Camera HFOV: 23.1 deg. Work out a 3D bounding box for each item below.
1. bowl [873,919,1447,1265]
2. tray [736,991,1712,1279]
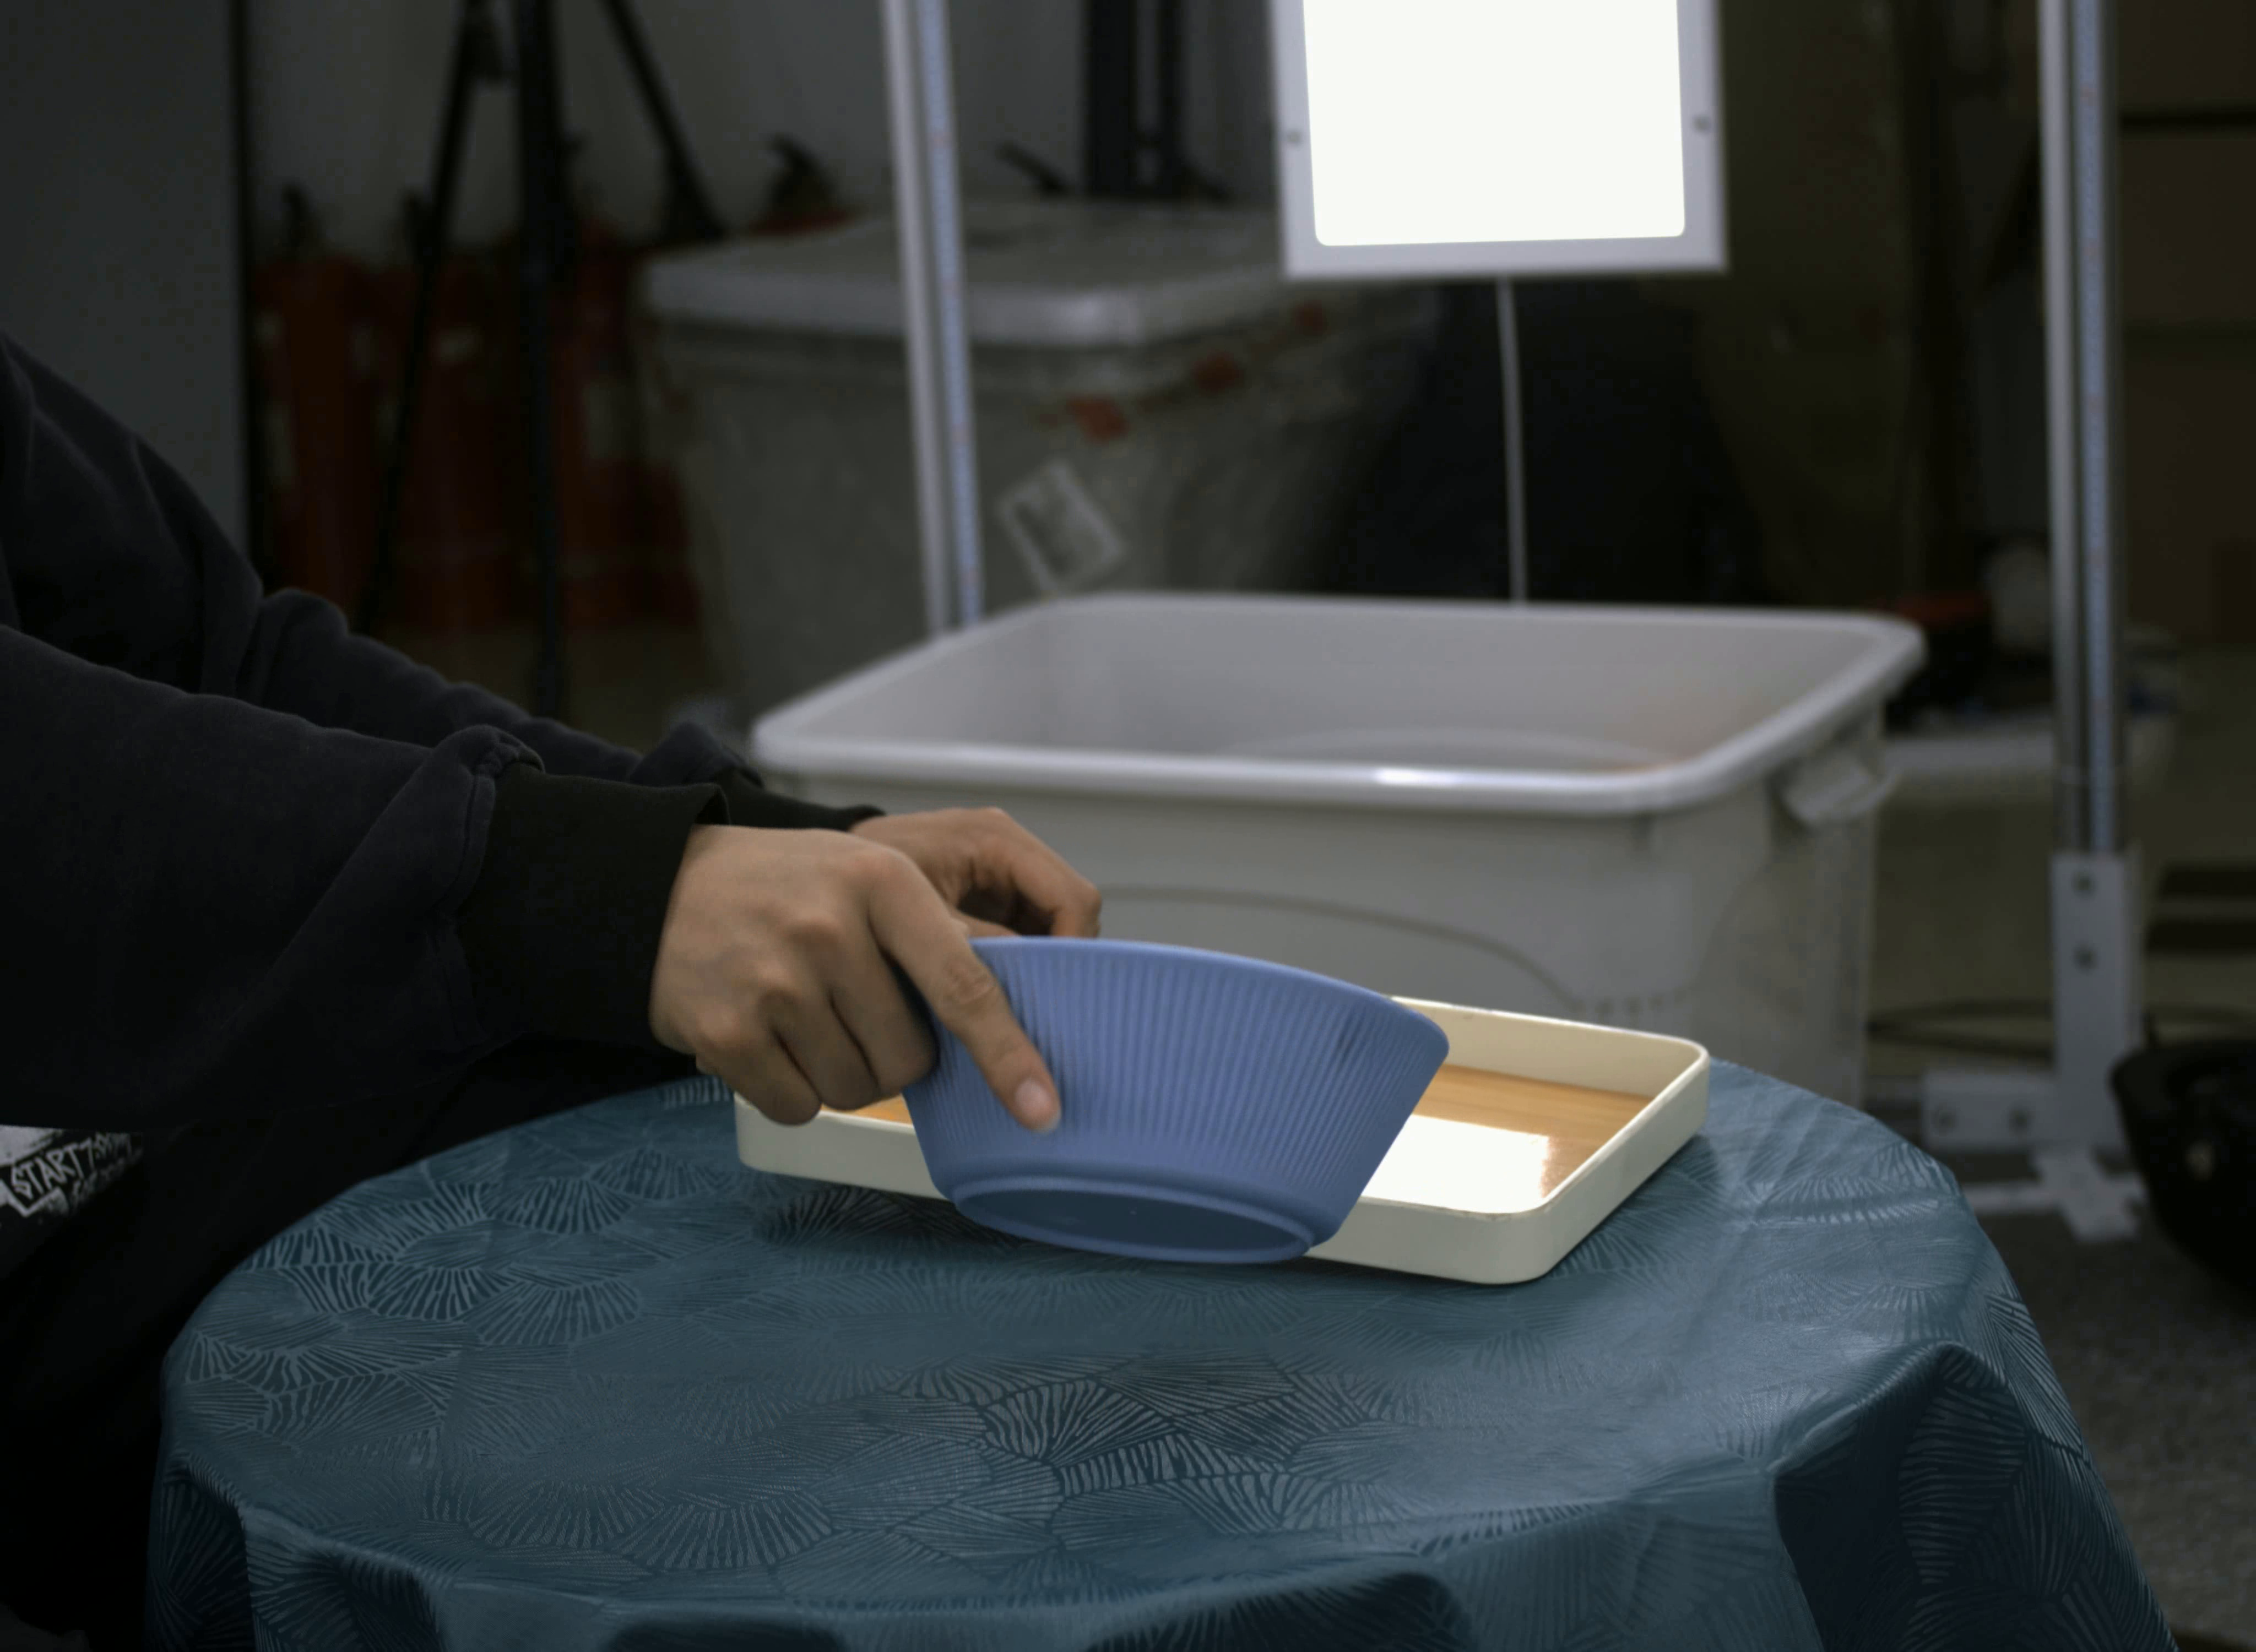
[{"bbox_3d":[0.005,0.085,1.647,0.176,0.070,0.176,8,-17,1],"label":"bowl"},{"bbox_3d":[0.034,0.096,1.899,0.305,0.027,0.187,7,18,26],"label":"tray"}]
